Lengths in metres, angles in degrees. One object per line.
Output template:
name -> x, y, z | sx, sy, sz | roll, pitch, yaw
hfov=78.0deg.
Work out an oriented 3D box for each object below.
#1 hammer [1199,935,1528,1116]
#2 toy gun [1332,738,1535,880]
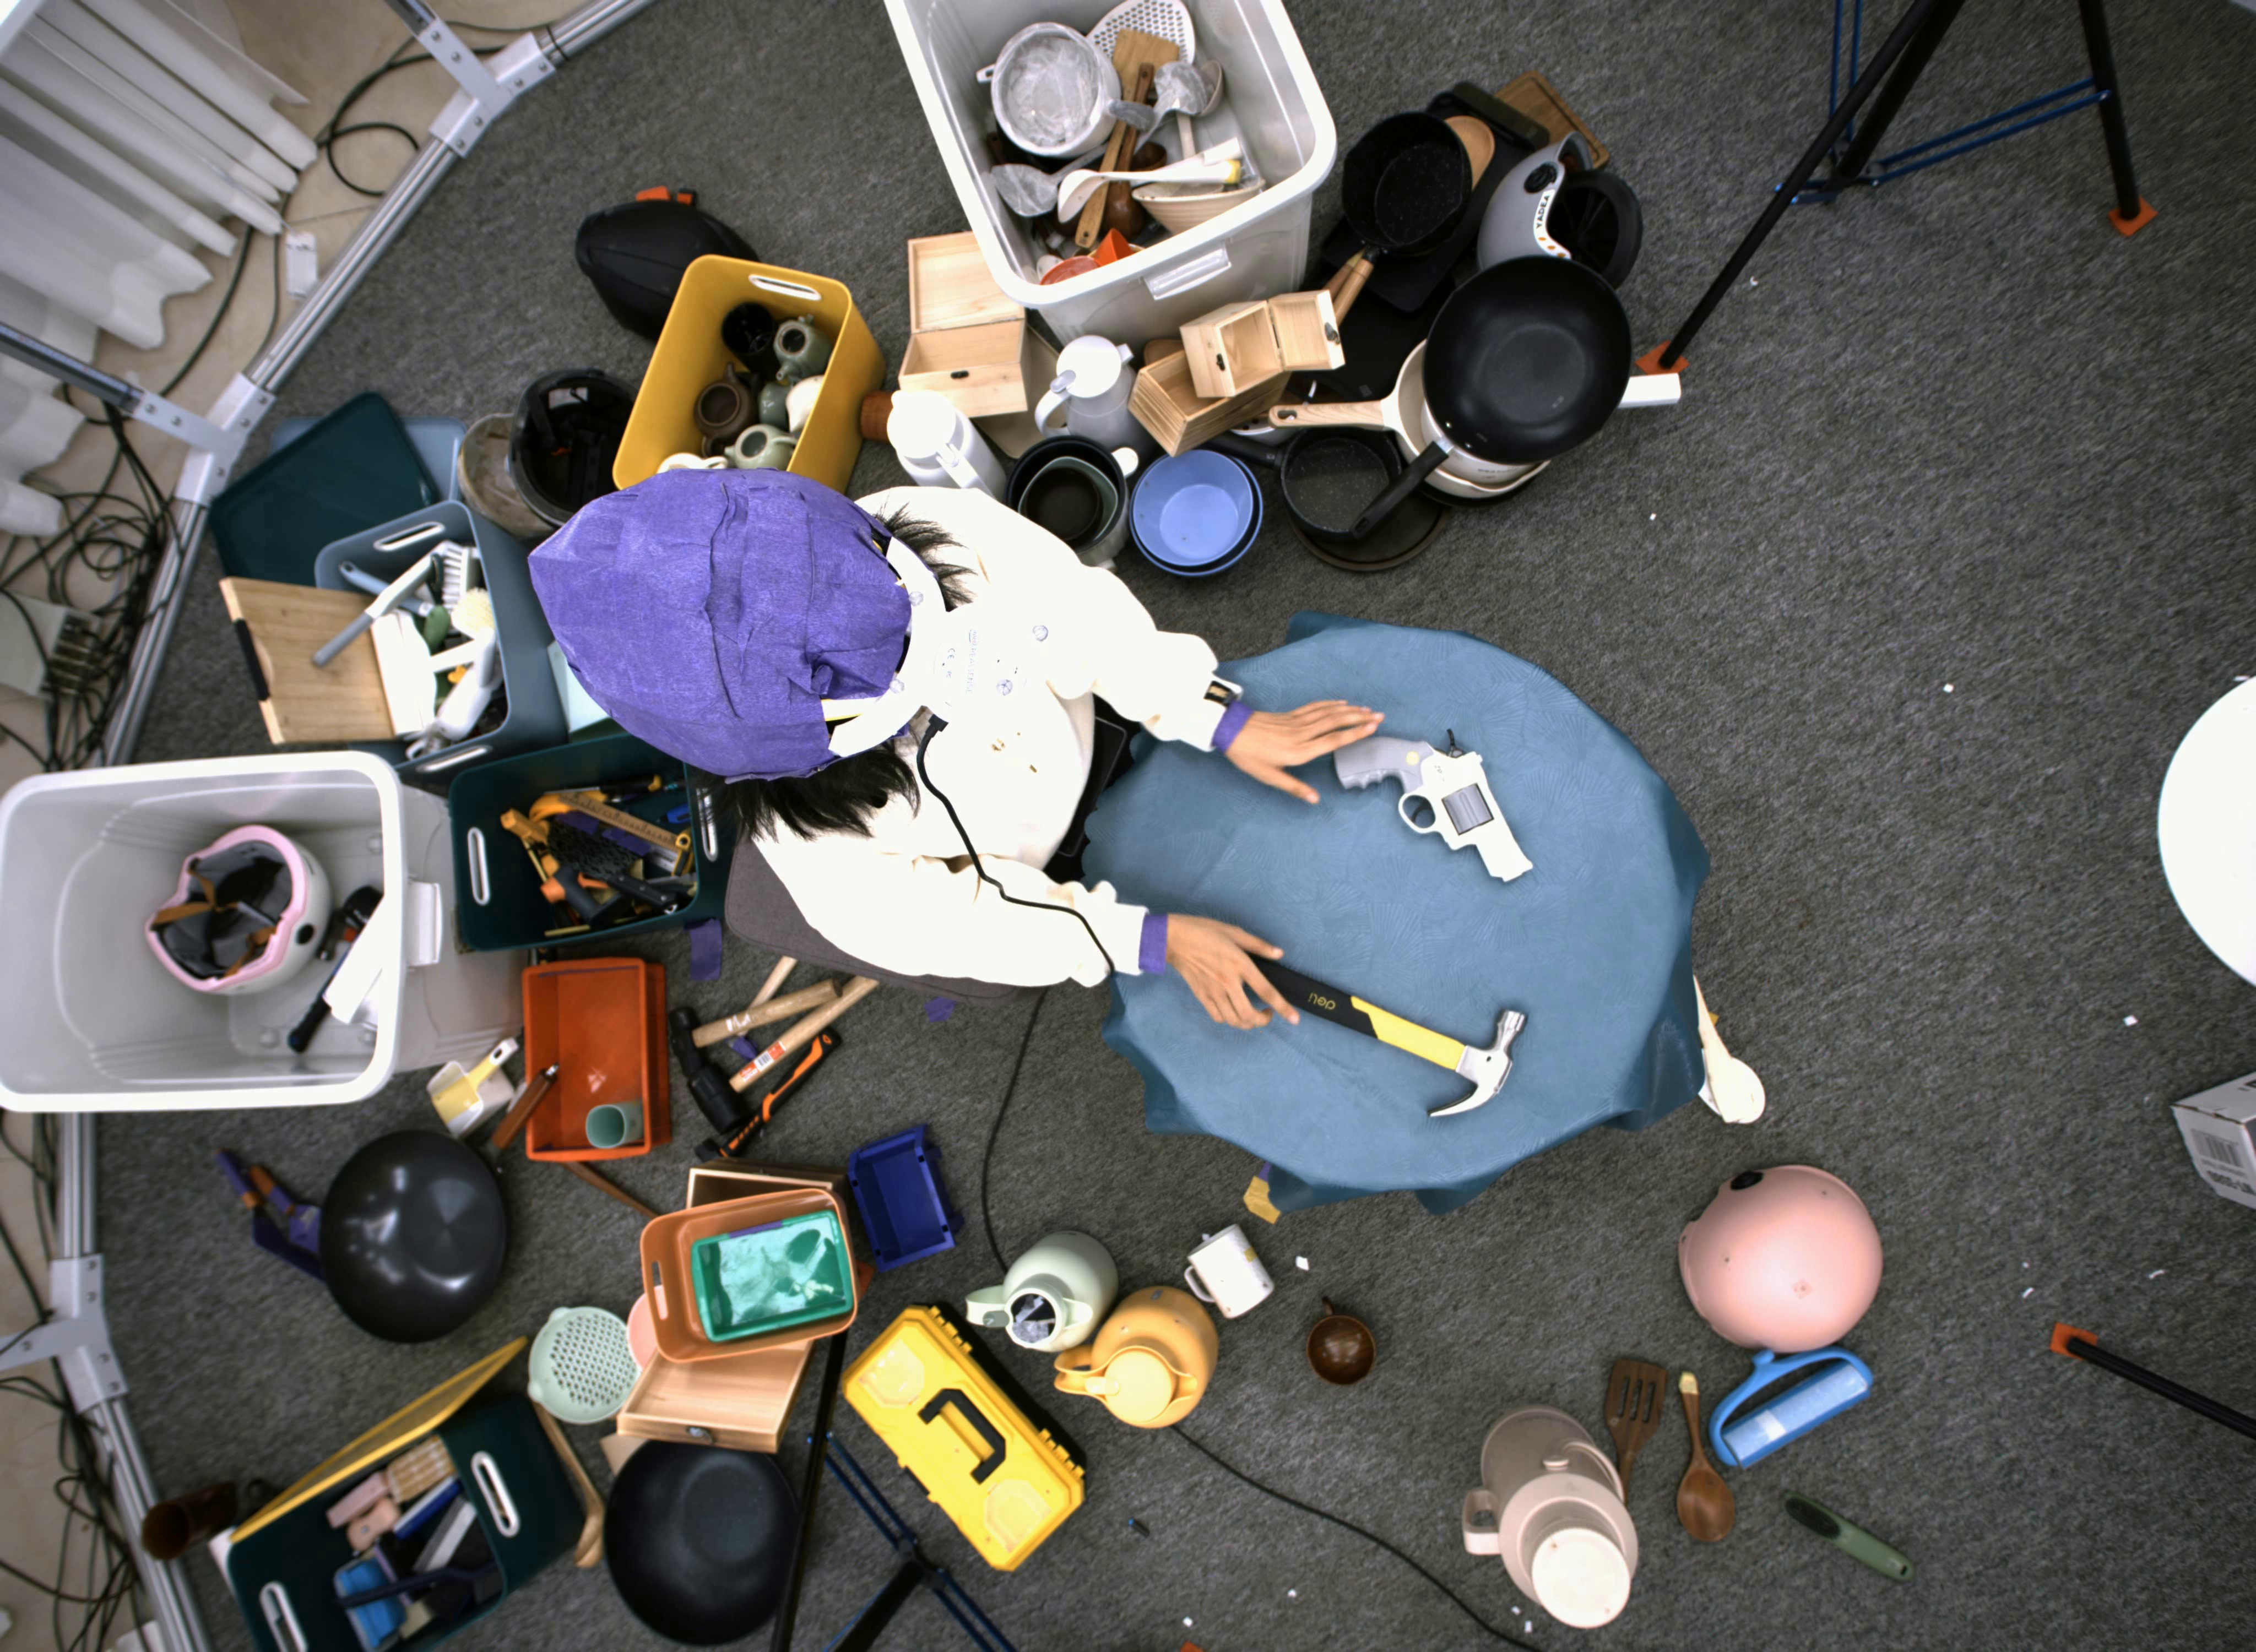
hammer -> 0.233, 0.193, 1.442 | 0.338, 0.032, 0.131 | 22, 93, 10
toy gun -> 0.315, -0.021, 1.437 | 0.142, 0.039, 0.208 | -27, 82, 6
